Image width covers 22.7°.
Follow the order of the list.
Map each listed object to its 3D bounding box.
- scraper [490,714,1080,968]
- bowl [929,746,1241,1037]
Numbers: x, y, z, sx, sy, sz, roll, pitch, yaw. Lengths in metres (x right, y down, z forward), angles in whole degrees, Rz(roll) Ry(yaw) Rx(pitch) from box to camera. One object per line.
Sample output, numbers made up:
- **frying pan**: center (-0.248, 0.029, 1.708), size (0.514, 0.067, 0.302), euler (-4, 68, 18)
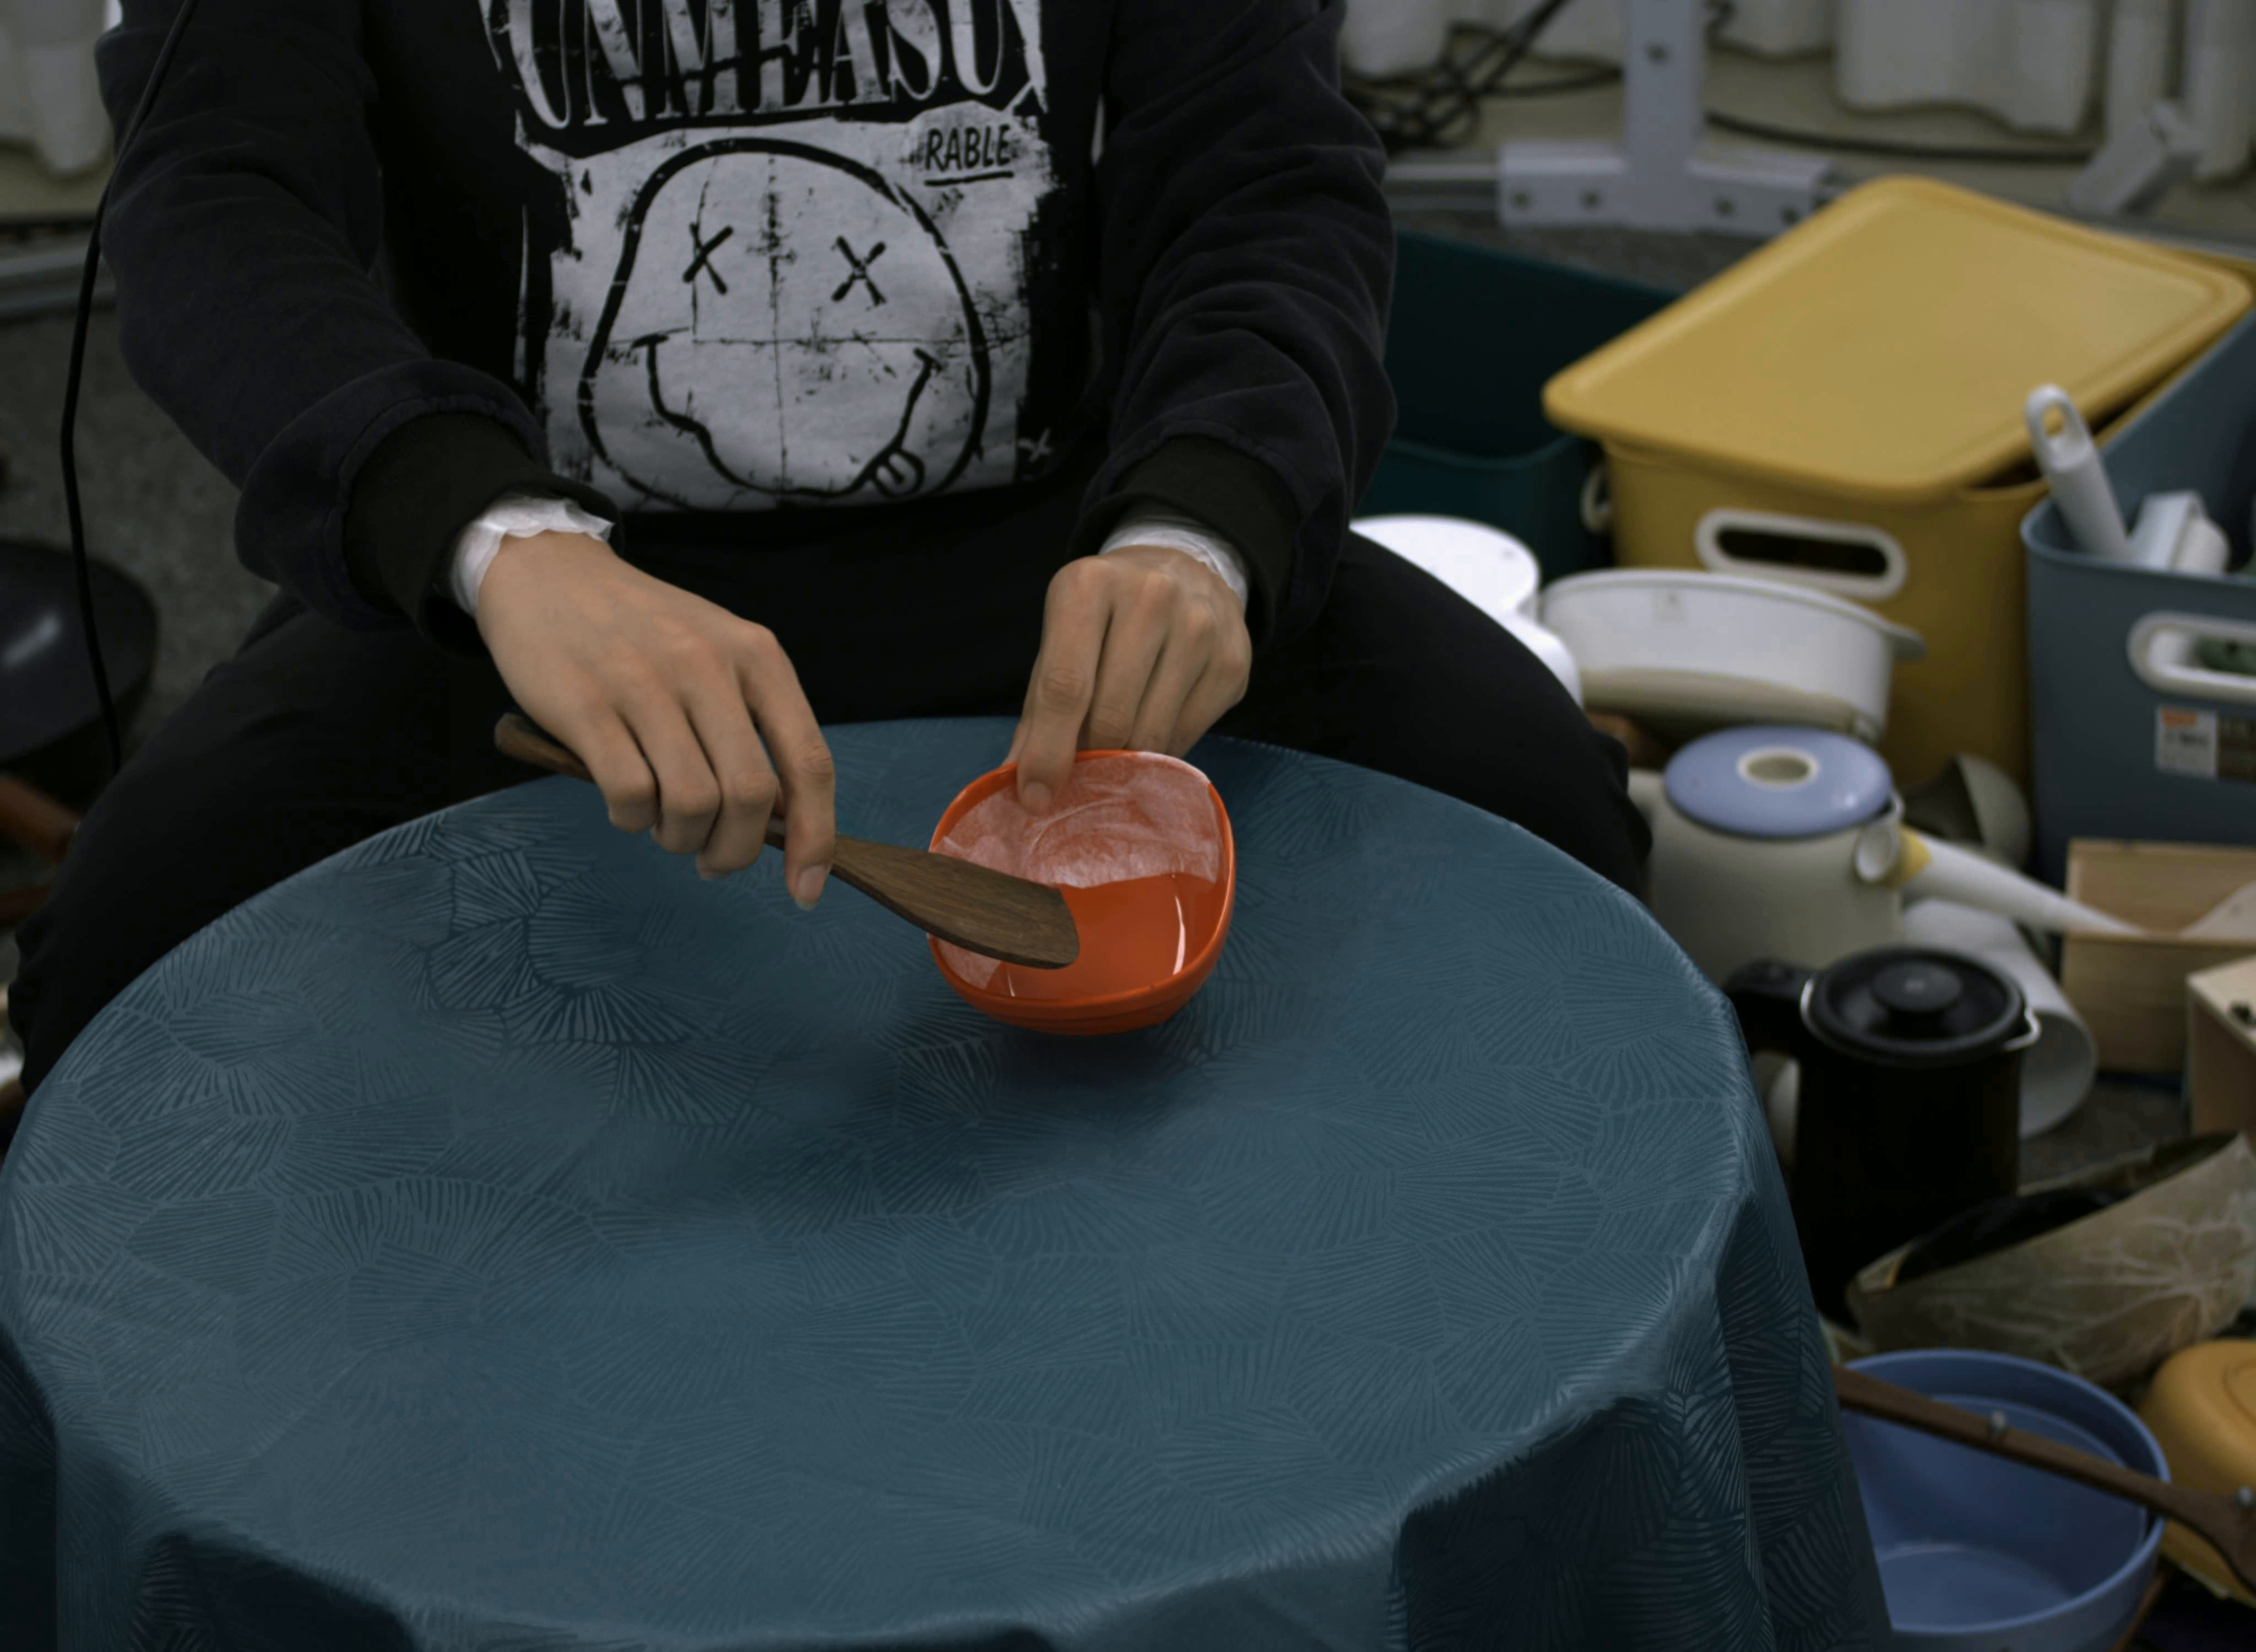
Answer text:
- **scraper**: center (-0.115, 0.003, 1.888), size (0.210, 0.011, 0.076), euler (20, 18, -13)
- **bowl**: center (-0.013, 0.031, 1.957), size (0.118, 0.050, 0.121), euler (-4, 53, 5)
